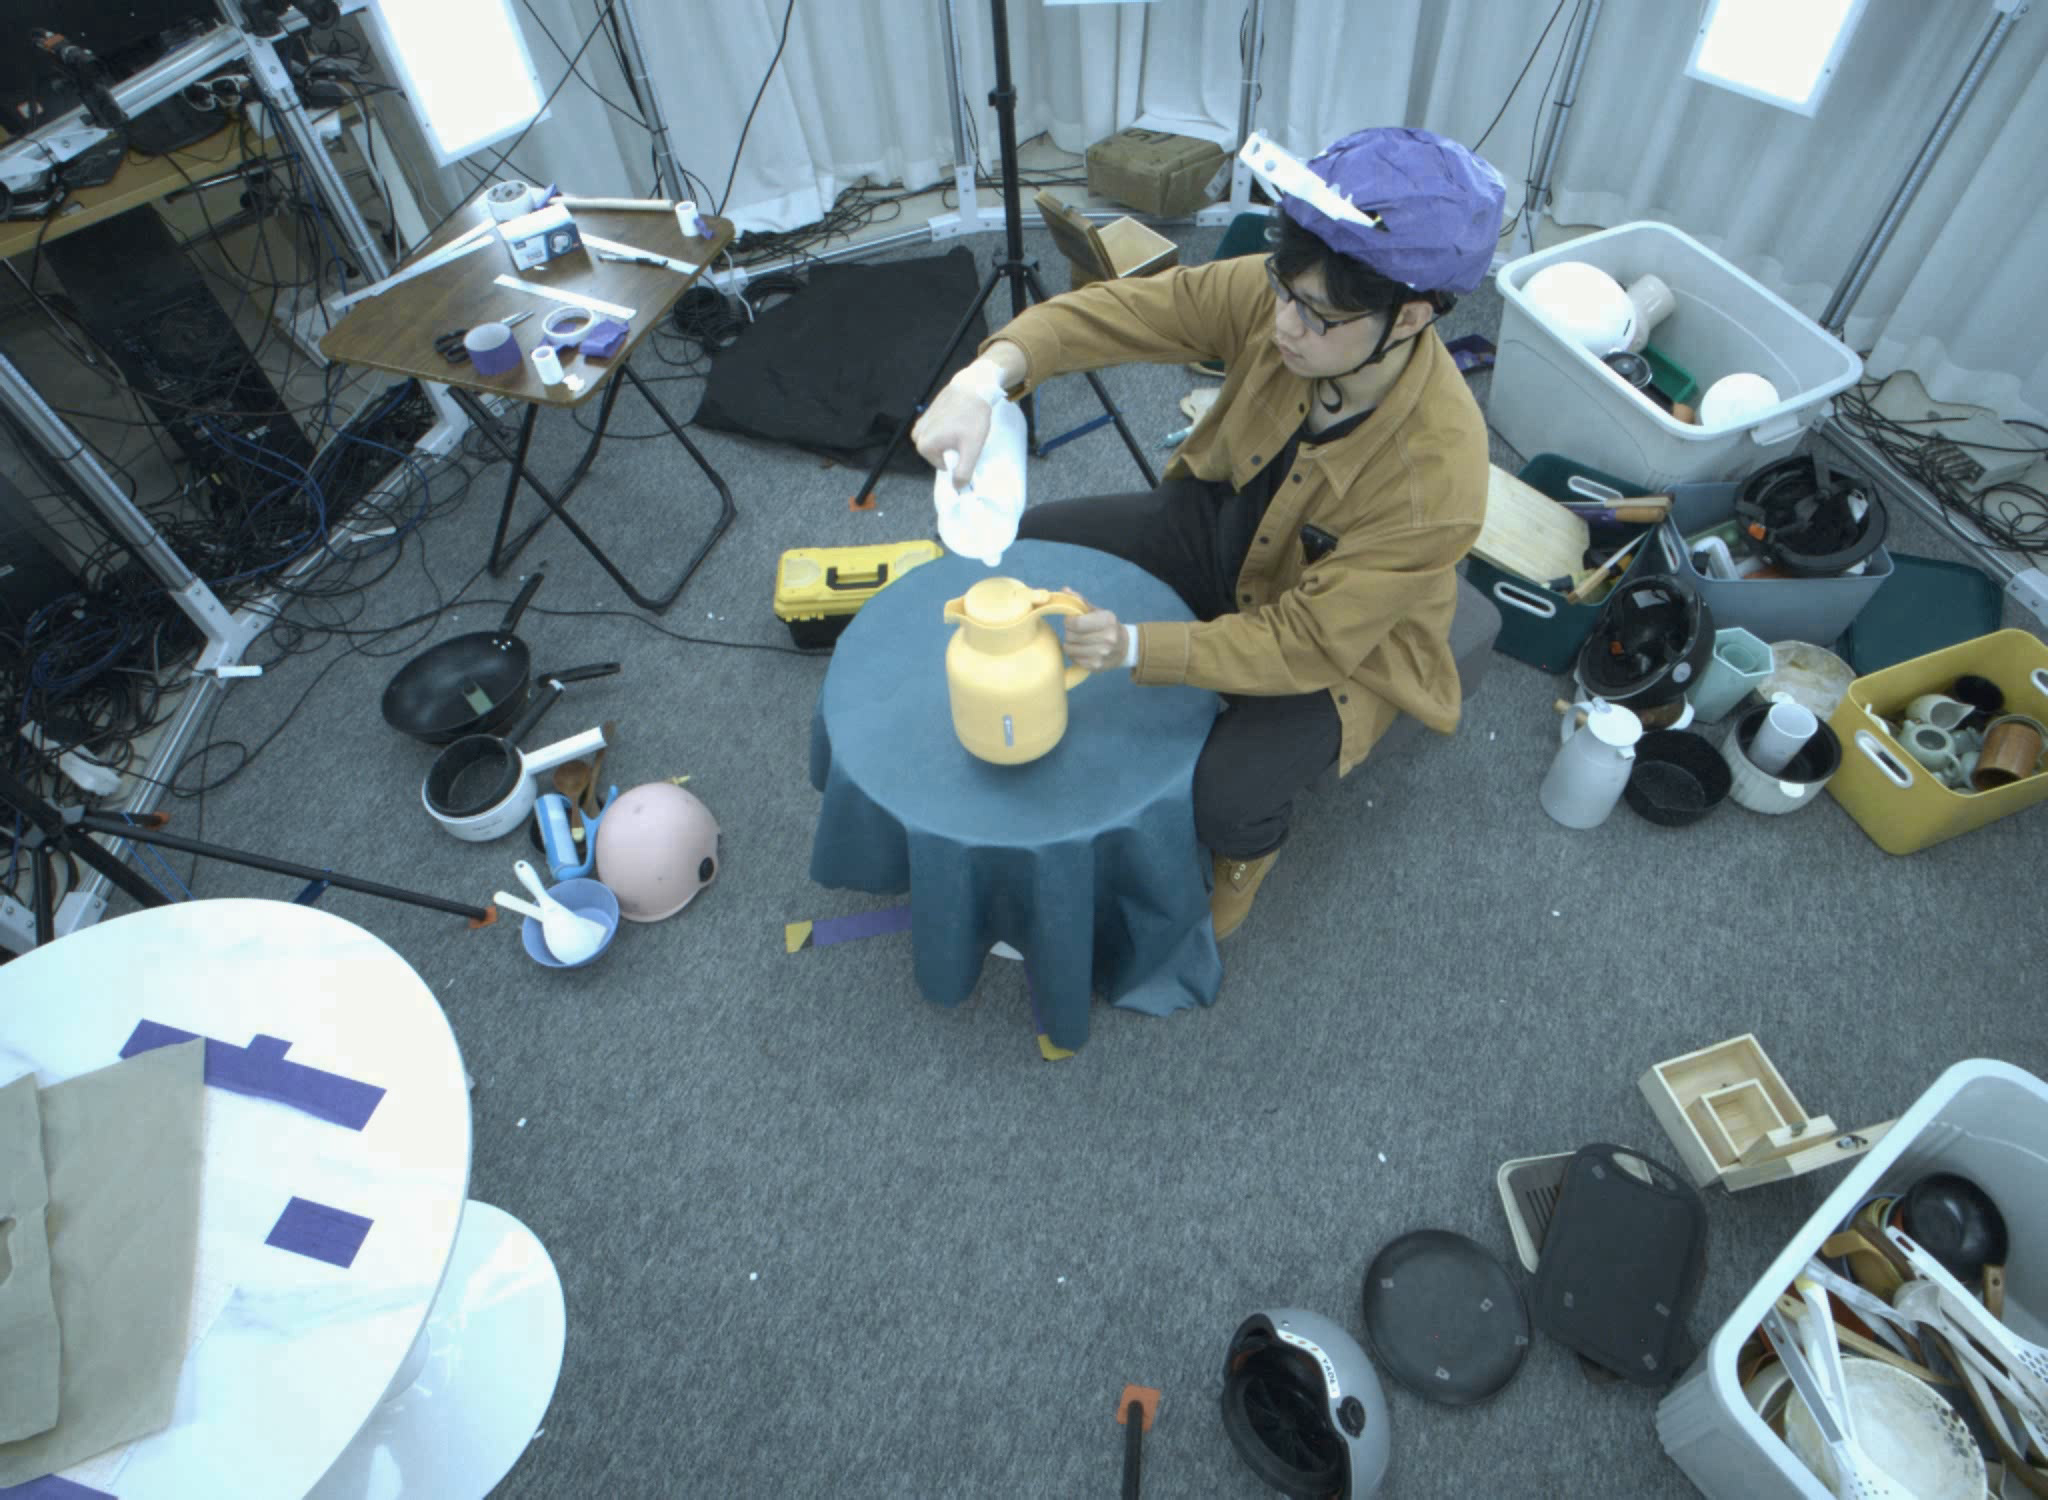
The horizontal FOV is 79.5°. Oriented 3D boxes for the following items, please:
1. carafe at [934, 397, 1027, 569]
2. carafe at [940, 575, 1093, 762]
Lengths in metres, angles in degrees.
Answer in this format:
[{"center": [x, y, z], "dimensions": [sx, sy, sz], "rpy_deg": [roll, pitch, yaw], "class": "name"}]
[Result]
[{"center": [-0.064, -0.373, 1.579], "dimensions": [0.123, 0.176, 0.266], "rpy_deg": [-12, 41, 14], "class": "carafe"}, {"center": [-0.007, -0.115, 1.666], "dimensions": [0.202, 0.264, 0.161], "rpy_deg": [-5, 50, 2], "class": "carafe"}]
